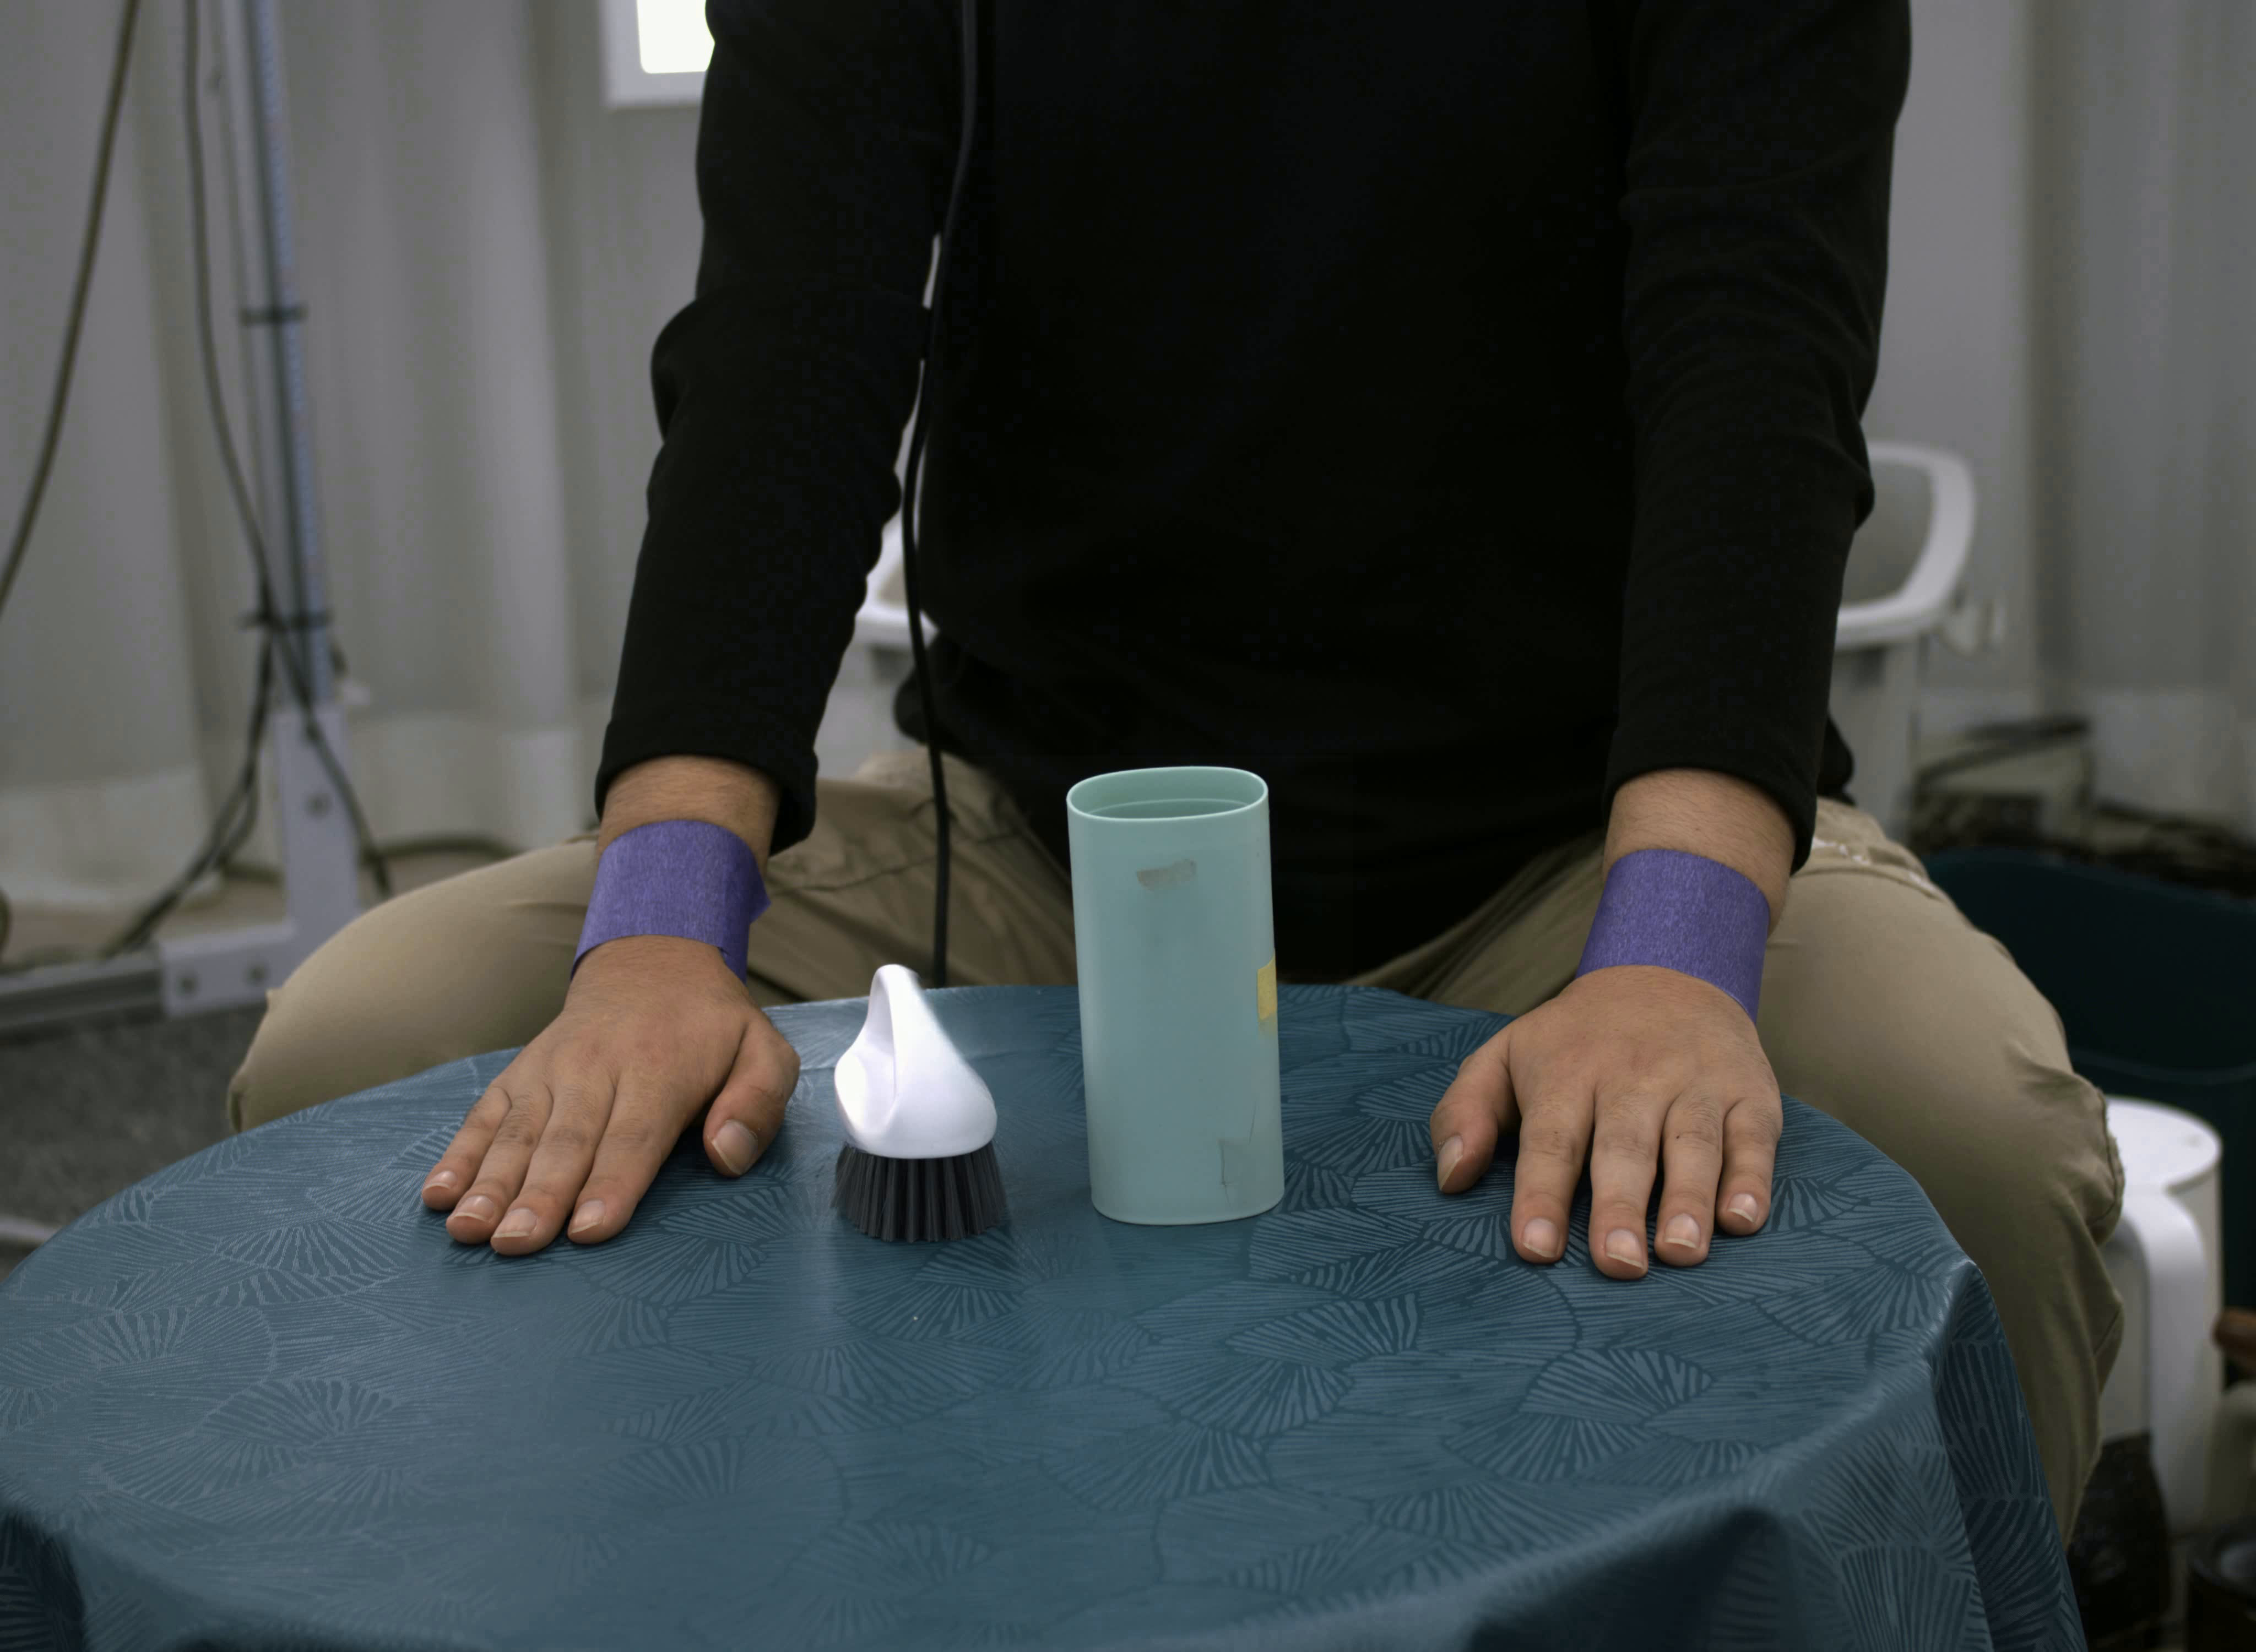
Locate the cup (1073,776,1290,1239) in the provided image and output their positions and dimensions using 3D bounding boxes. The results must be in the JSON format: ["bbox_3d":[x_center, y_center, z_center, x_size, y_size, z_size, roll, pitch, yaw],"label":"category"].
[{"bbox_3d":[0.016,0.056,1.696,0.066,0.132,0.067,-3,14,1],"label":"cup"}]

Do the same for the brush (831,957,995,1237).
[{"bbox_3d":[-0.069,0.080,1.716,0.050,0.072,0.100,-3,15,-6],"label":"brush"}]
